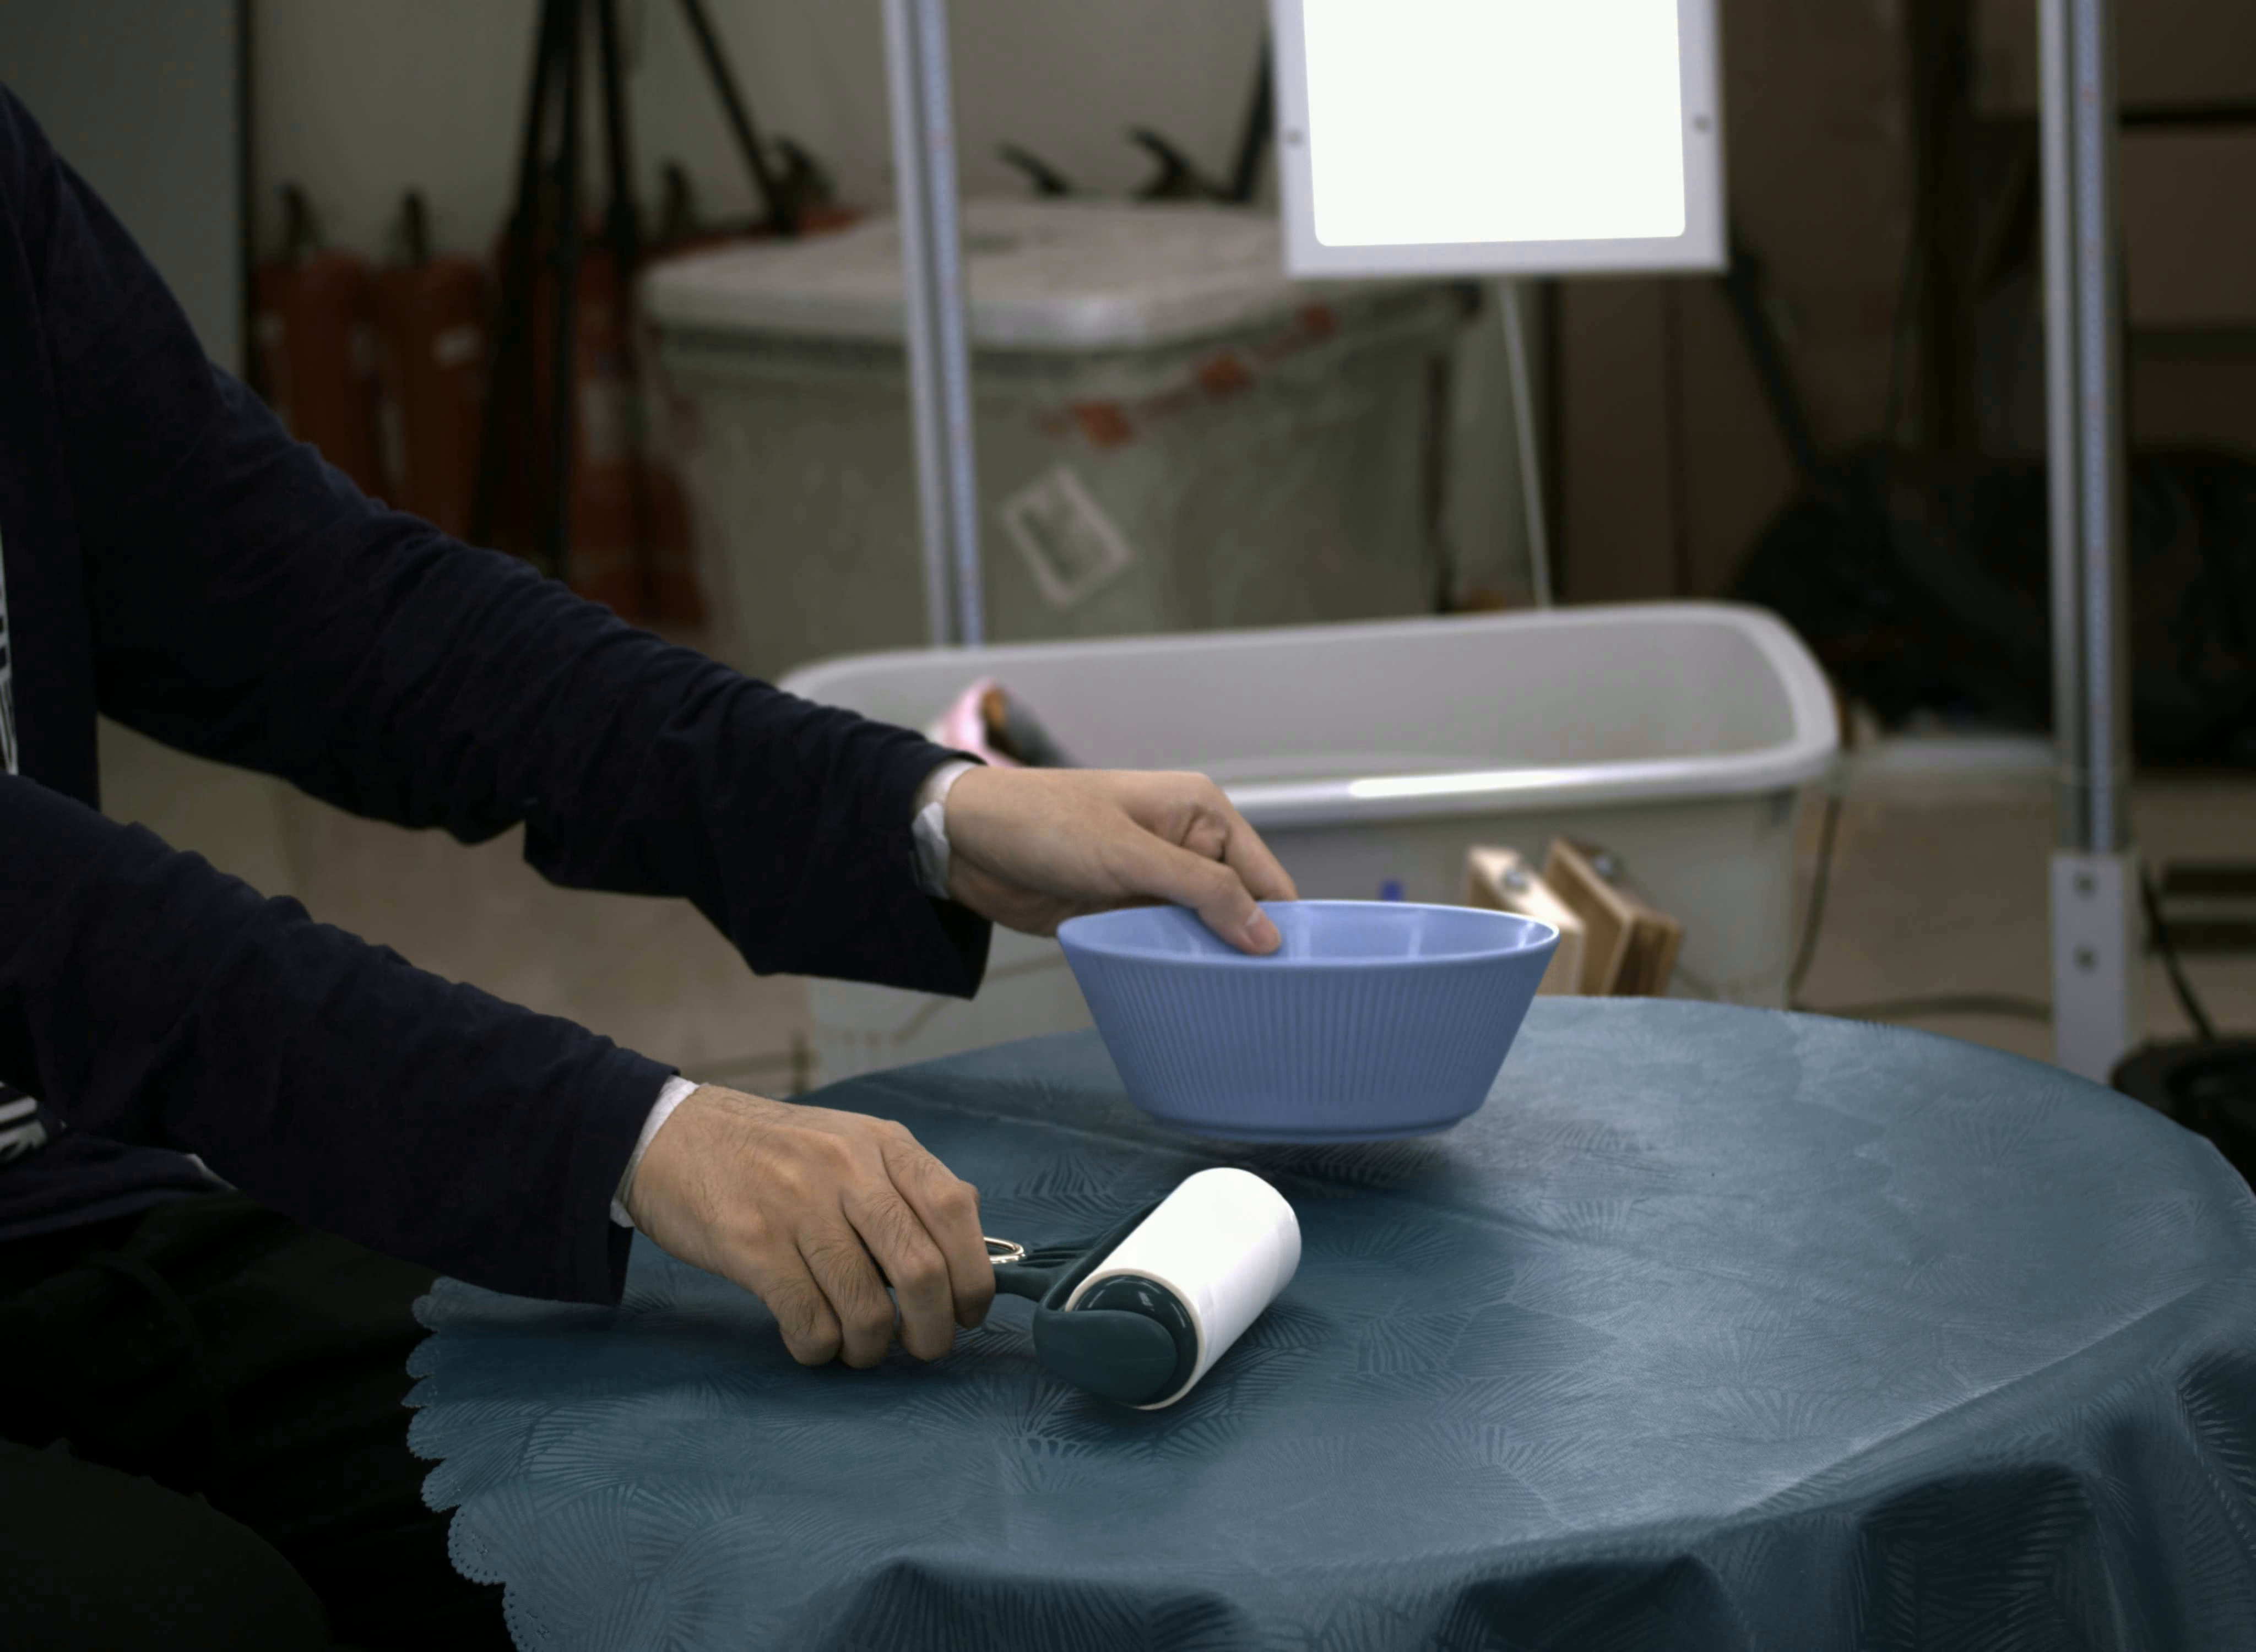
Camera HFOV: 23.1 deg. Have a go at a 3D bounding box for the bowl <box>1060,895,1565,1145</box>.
[{"bbox_3d":[0.064,0.067,1.910,0.175,0.070,0.176,-1,7,-1],"label":"bowl"}]

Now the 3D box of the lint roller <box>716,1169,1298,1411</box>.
[{"bbox_3d":[-0.046,0.136,1.743,0.182,0.048,0.132,8,17,19],"label":"lint roller"}]
